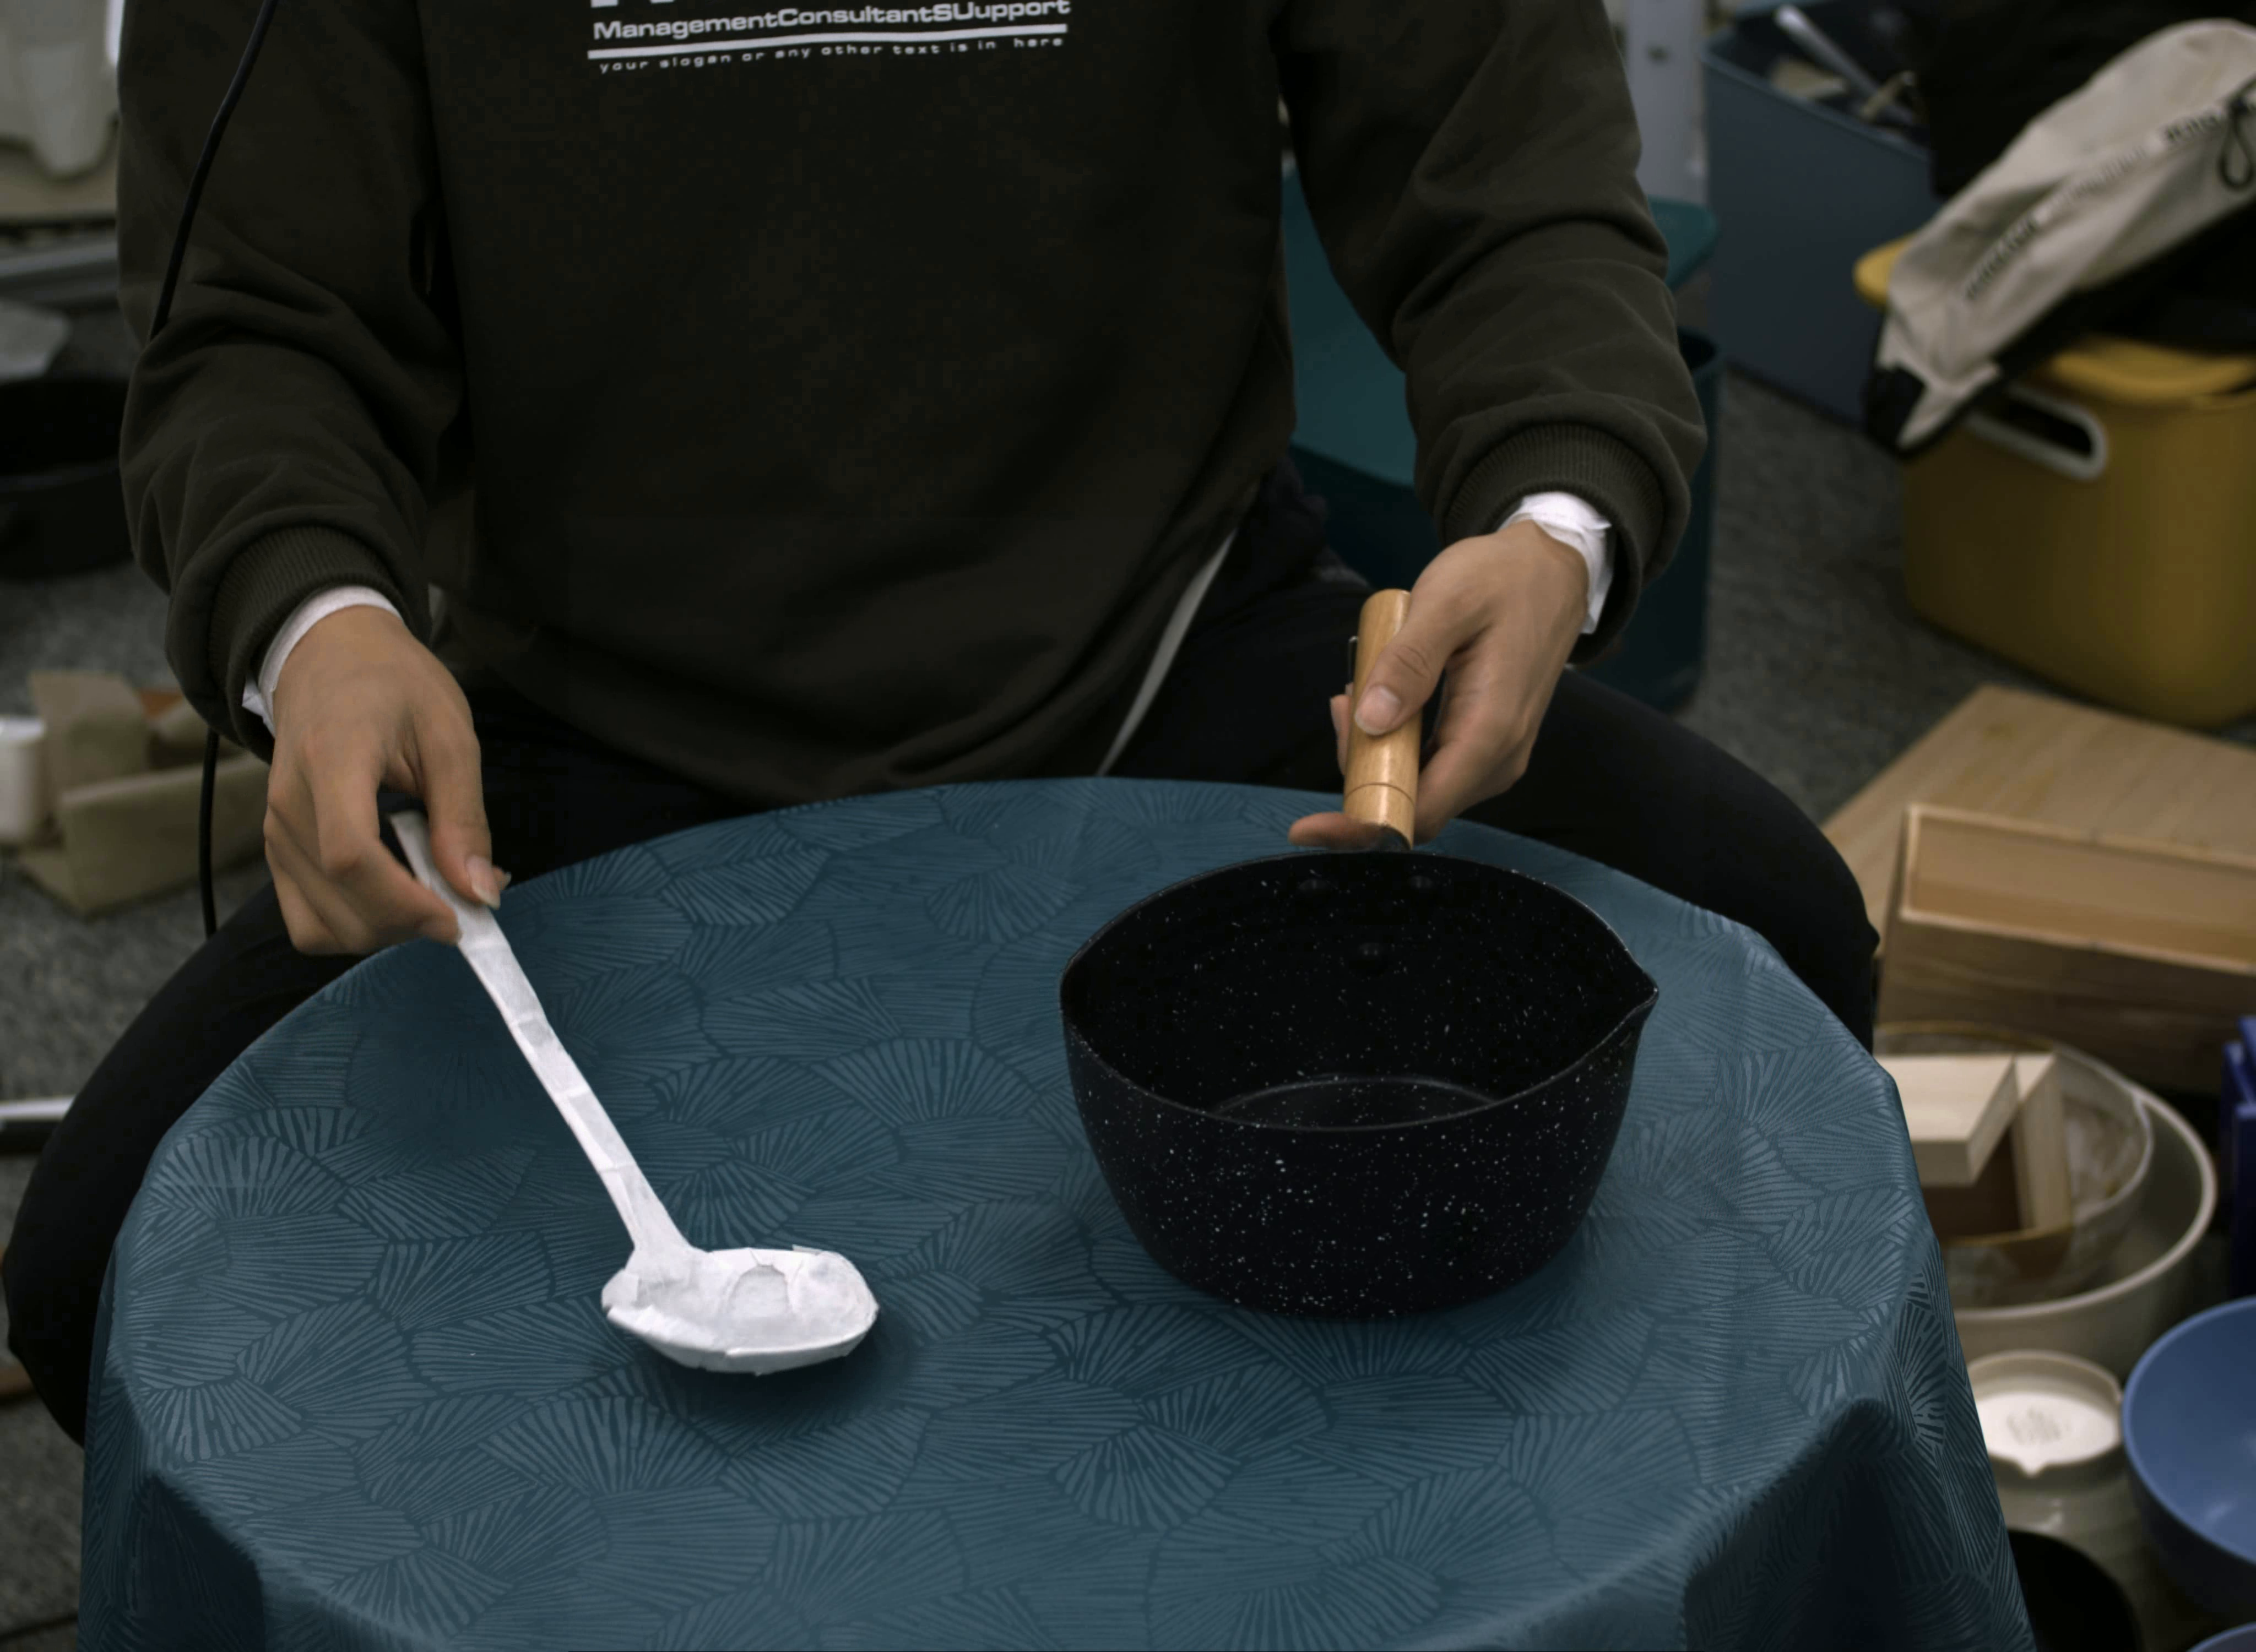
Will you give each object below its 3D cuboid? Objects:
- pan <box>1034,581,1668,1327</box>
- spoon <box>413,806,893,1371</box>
[{"bbox_3d":[0.079,0.040,1.897,0.206,0.107,0.348,-1,29,6],"label":"pan"},{"bbox_3d":[-0.163,0.078,1.829,0.101,0.058,0.280,-6,50,-34],"label":"spoon"}]
